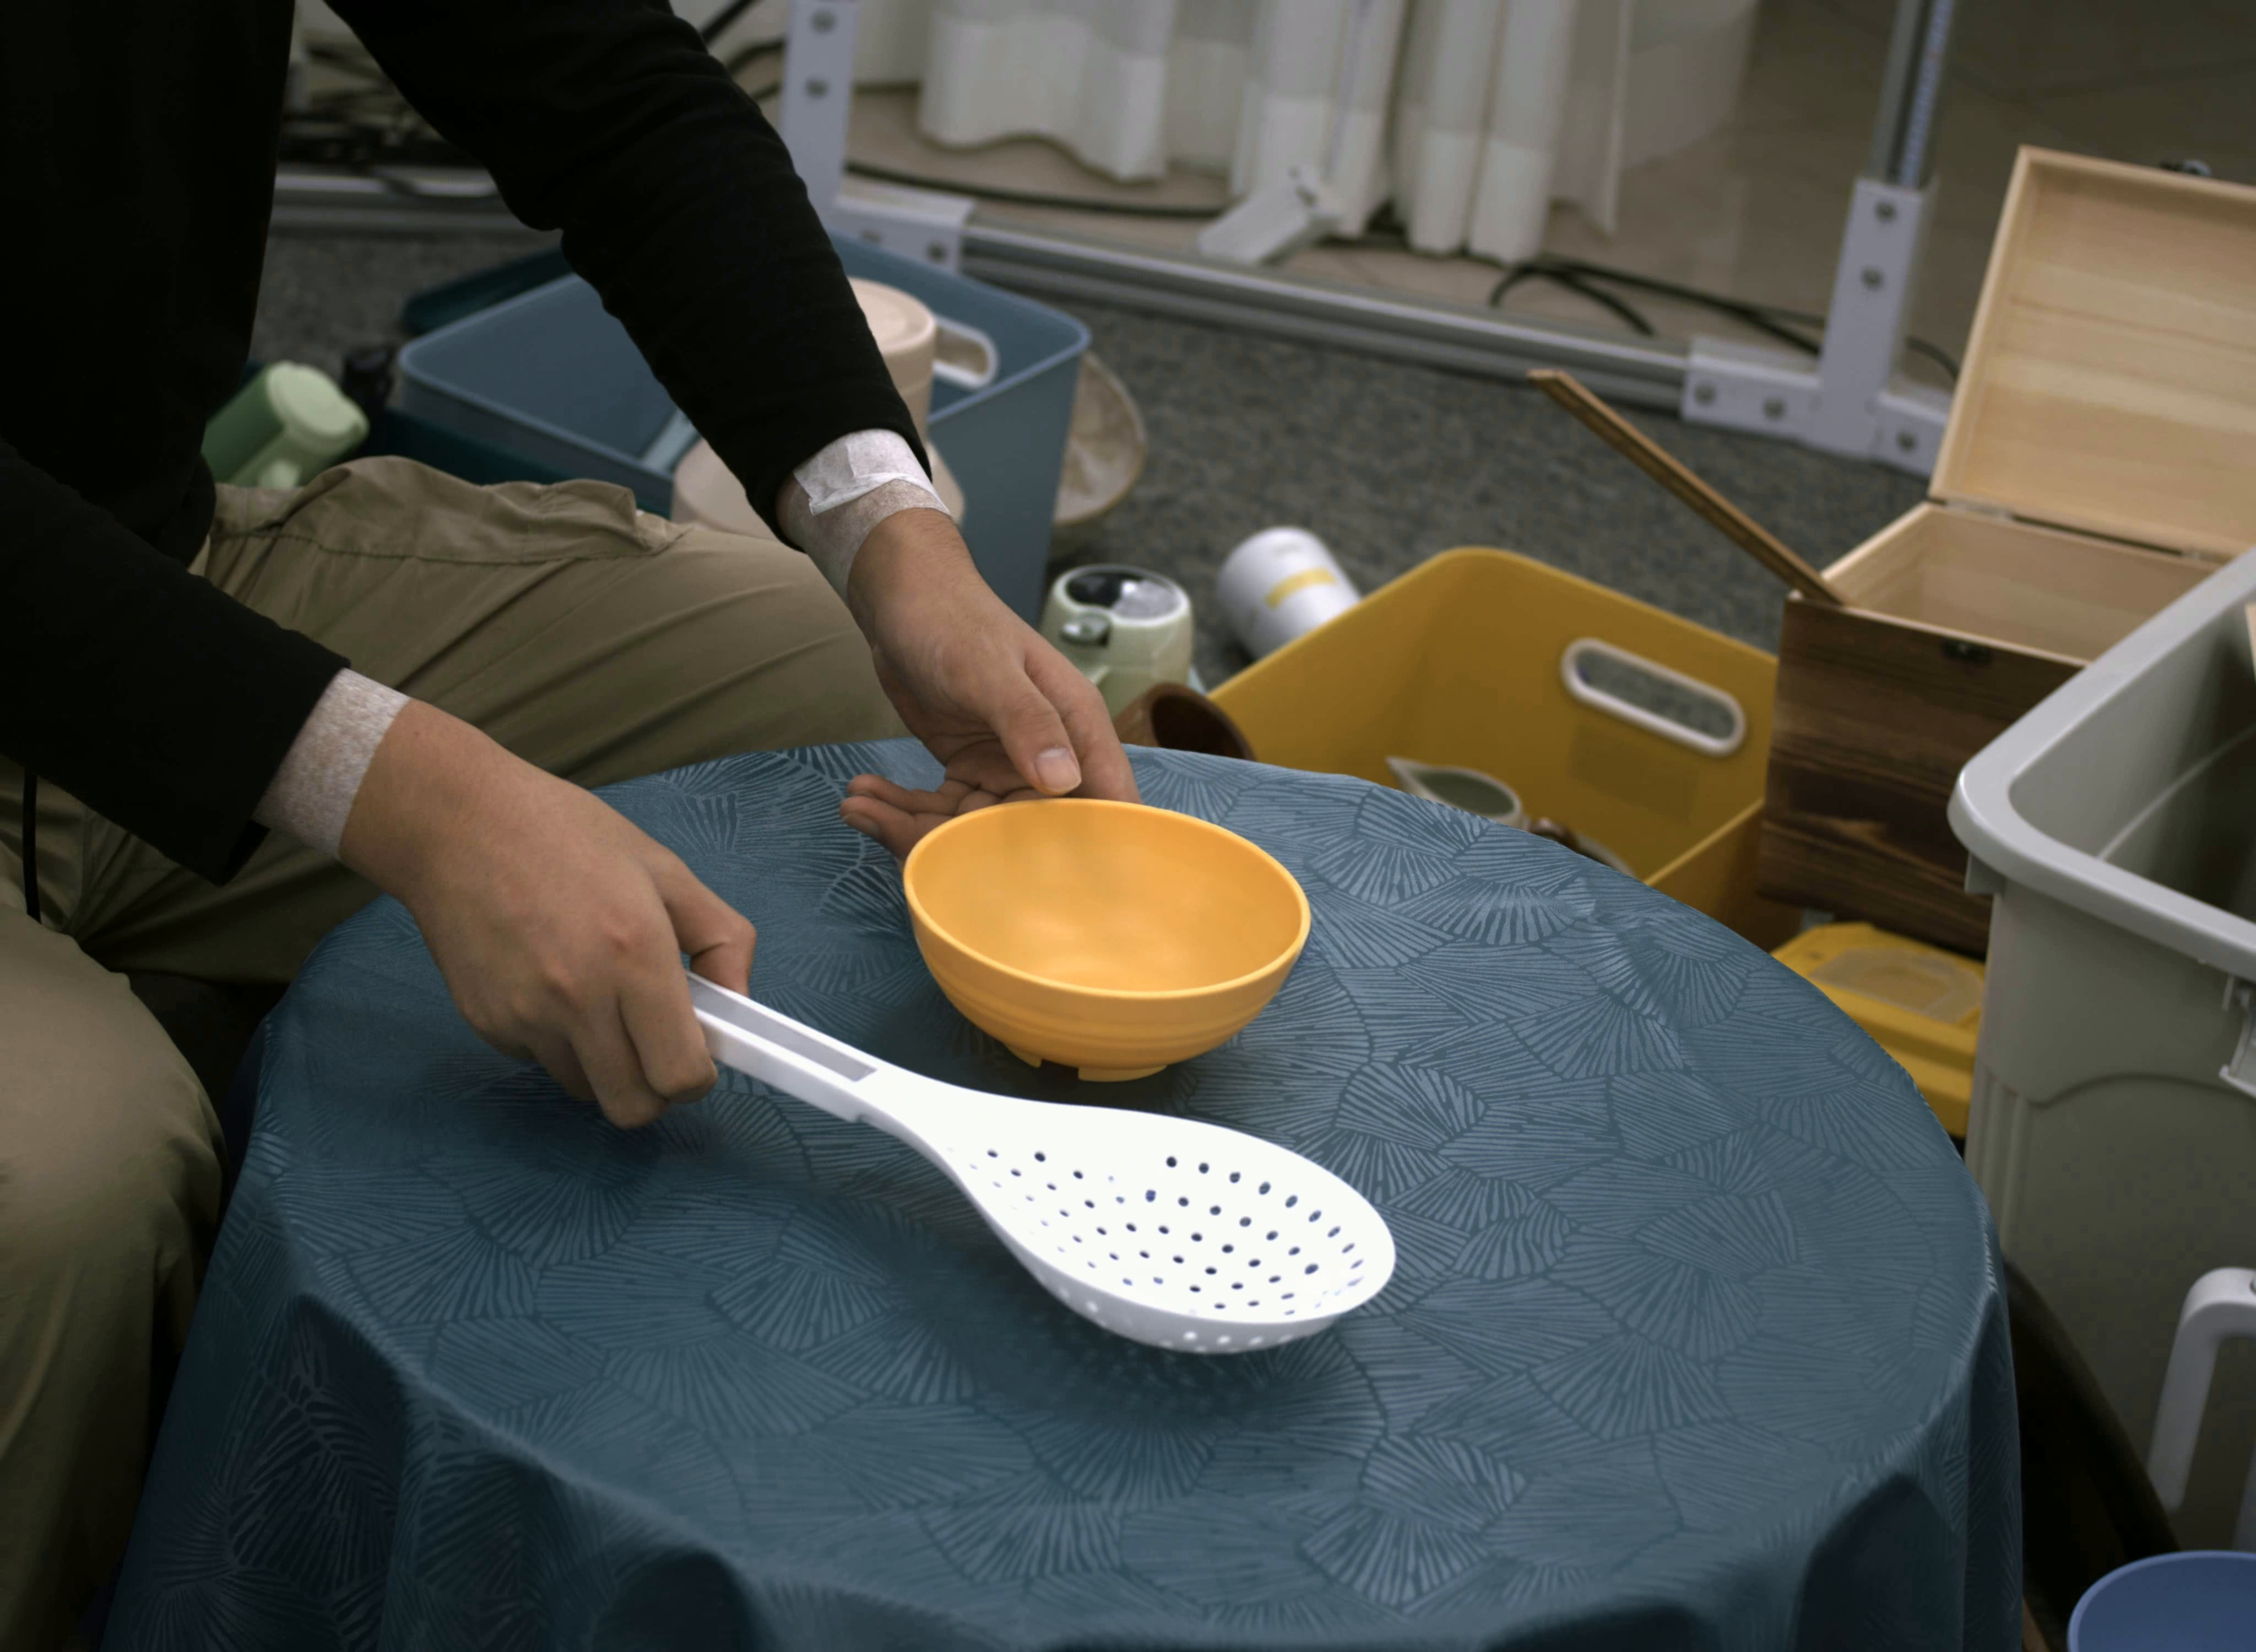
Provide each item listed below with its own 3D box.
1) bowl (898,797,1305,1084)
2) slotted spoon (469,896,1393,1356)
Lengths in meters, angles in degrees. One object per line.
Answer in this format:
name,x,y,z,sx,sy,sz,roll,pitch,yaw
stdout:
bowl,-0.013,0.050,1.883,0.145,0.060,0.146,7,27,-4
slotted spoon,-0.074,0.094,1.761,0.351,0.045,0.135,27,28,22
